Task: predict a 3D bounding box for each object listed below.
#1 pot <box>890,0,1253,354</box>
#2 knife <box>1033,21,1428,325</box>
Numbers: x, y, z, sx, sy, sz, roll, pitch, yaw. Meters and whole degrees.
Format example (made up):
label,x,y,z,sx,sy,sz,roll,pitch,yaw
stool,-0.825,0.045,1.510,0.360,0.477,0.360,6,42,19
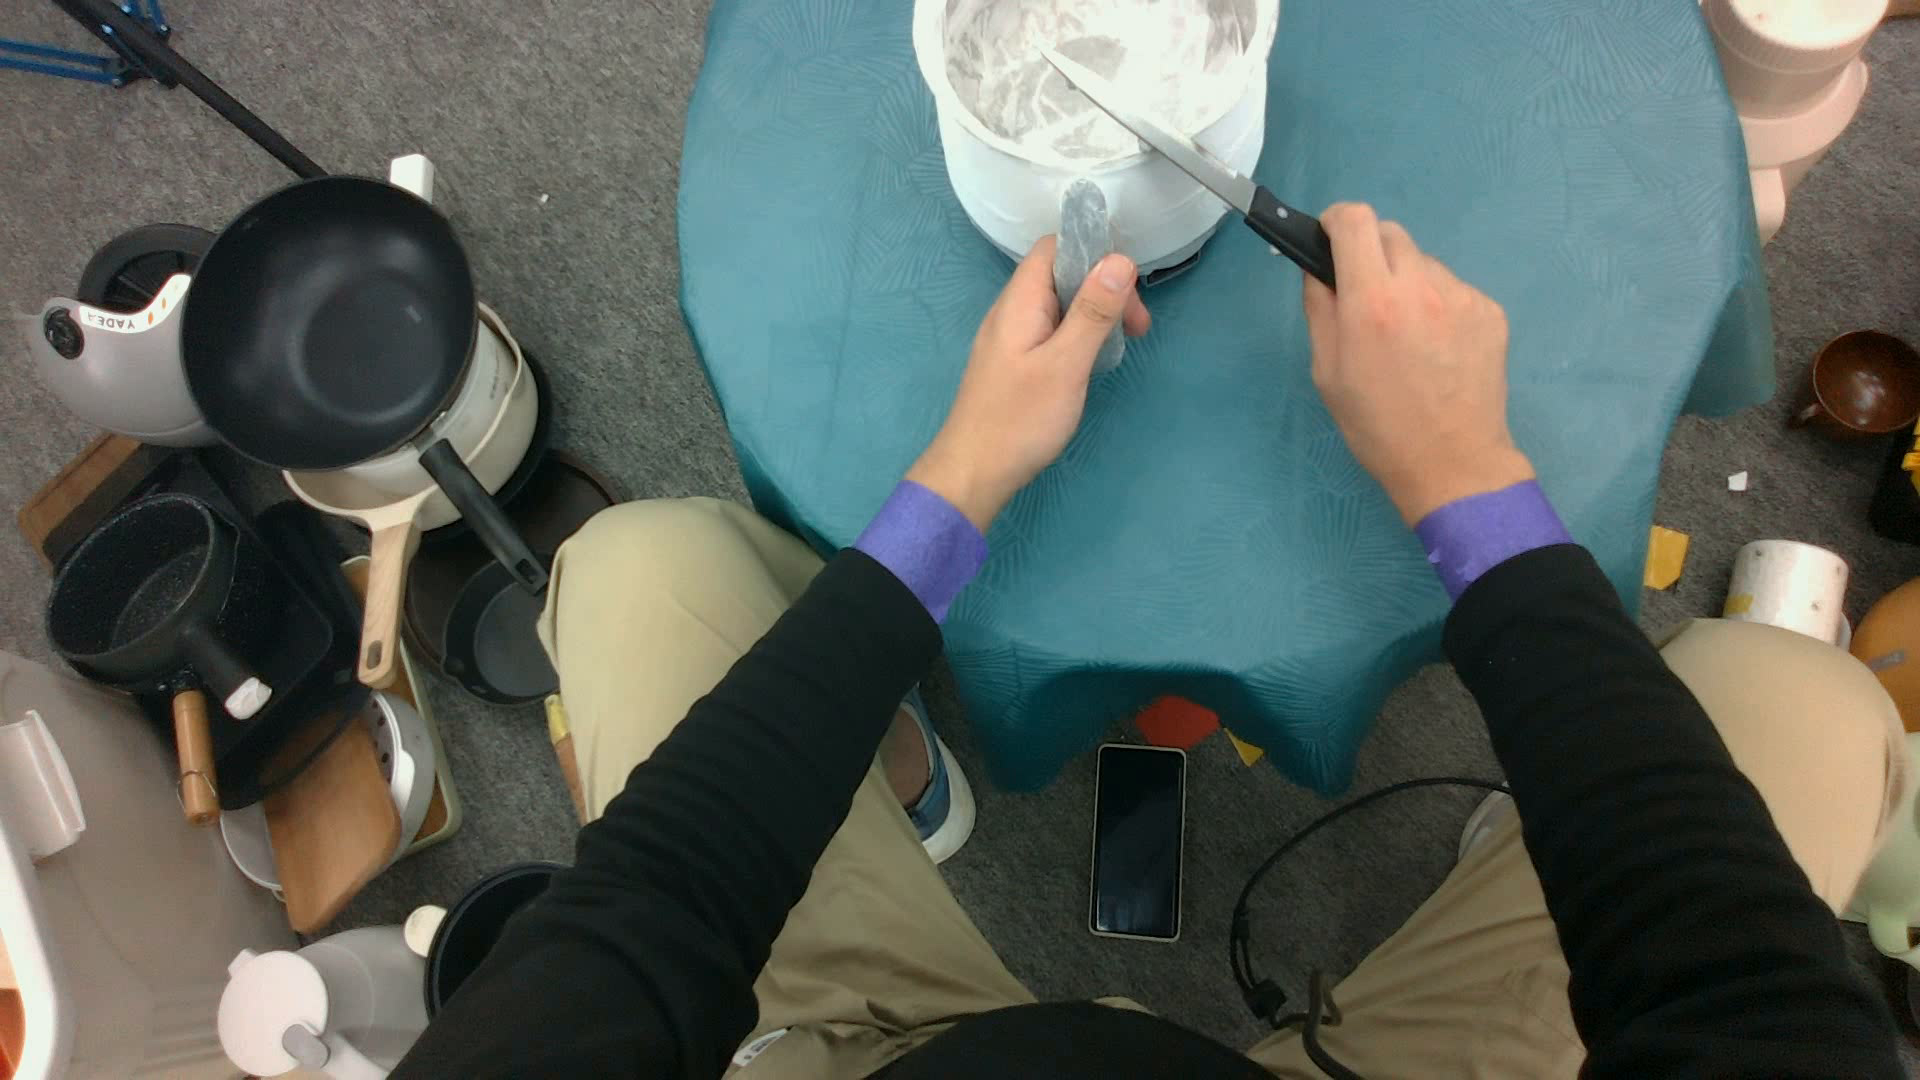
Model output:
label,x,y,z,sx,sy,sz,roll,pitch,yaw
pot,0.060,-0.222,0.720,0.178,0.136,0.234,0,71,8
knife,0.129,-0.170,0.647,0.238,0.016,0.024,32,52,-15
